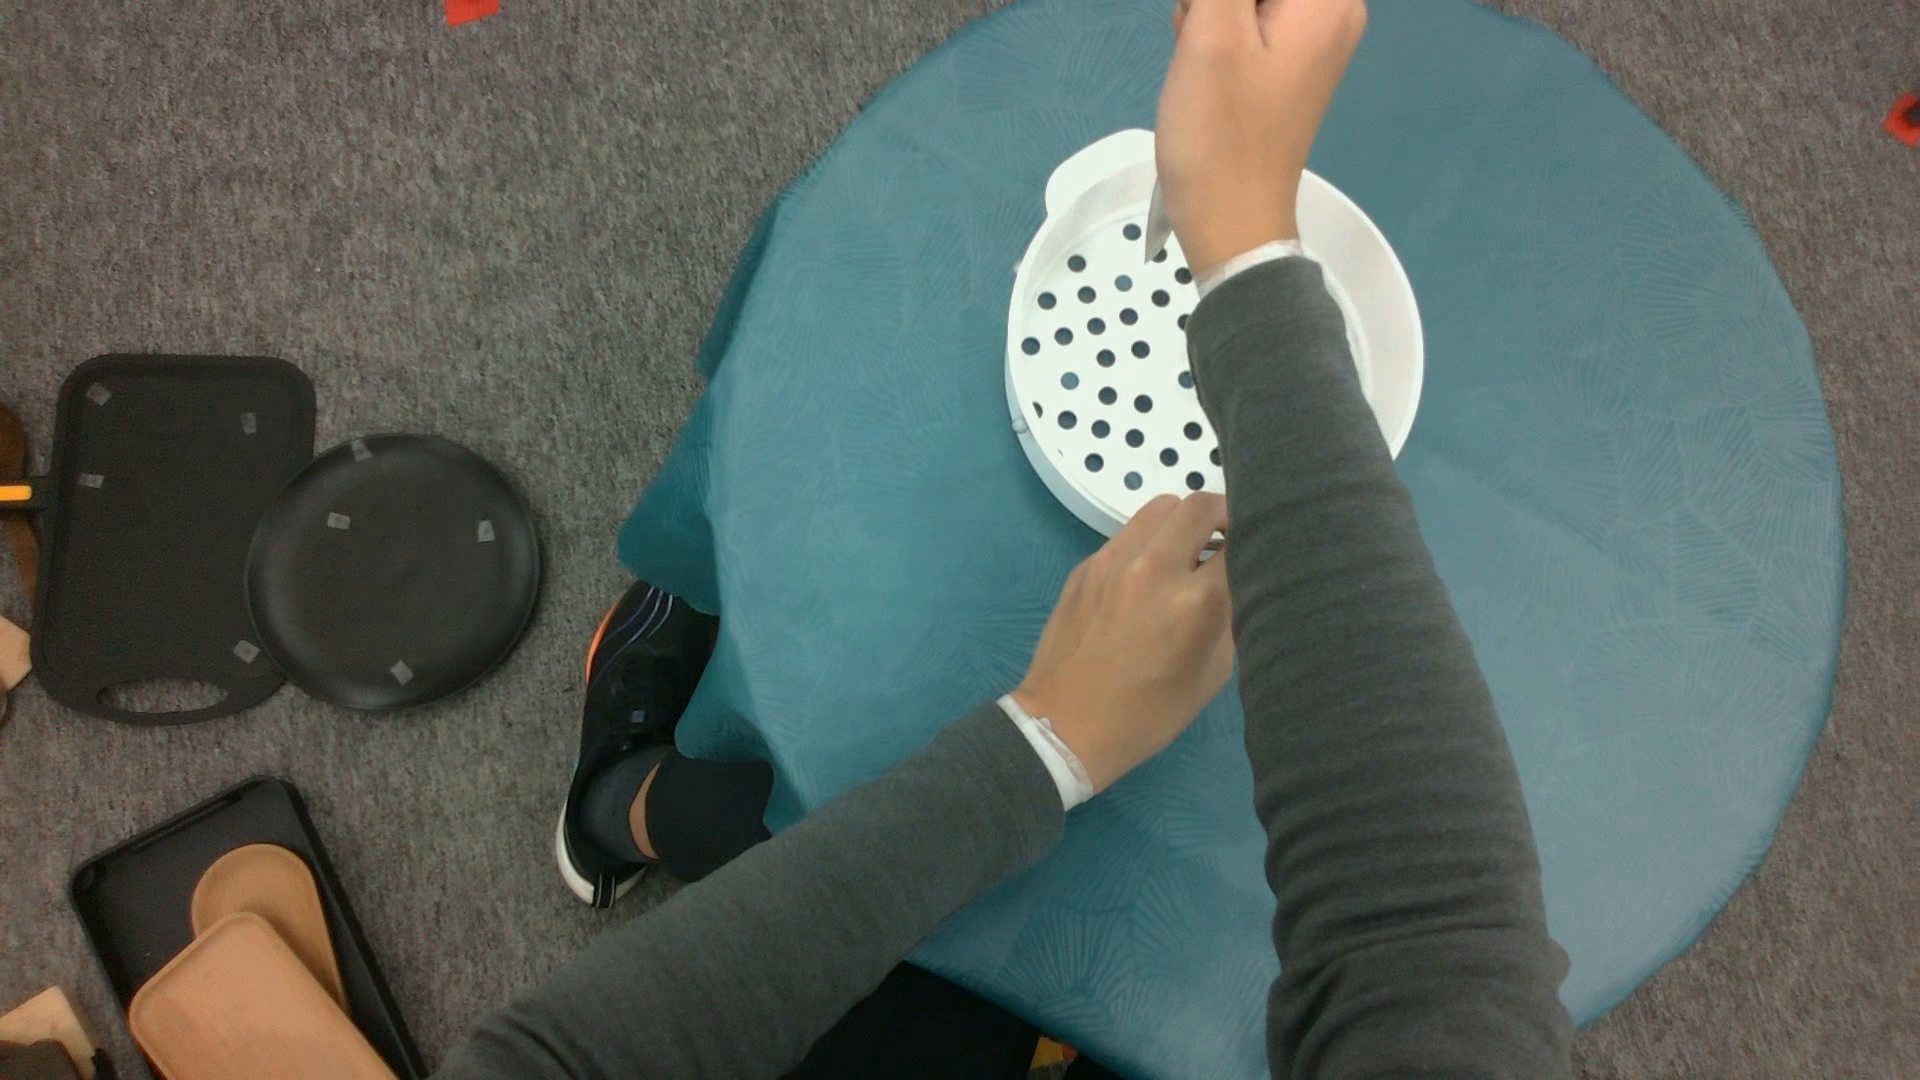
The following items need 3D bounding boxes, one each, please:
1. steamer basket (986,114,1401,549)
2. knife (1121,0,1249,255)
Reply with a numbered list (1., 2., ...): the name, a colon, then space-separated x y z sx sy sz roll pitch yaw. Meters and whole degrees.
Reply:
1. steamer basket: 0.111 -0.098 0.687 0.202 0.069 0.230 -30 84 -10
2. knife: 0.093 -0.177 0.598 0.016 0.237 0.024 -19 77 -9
